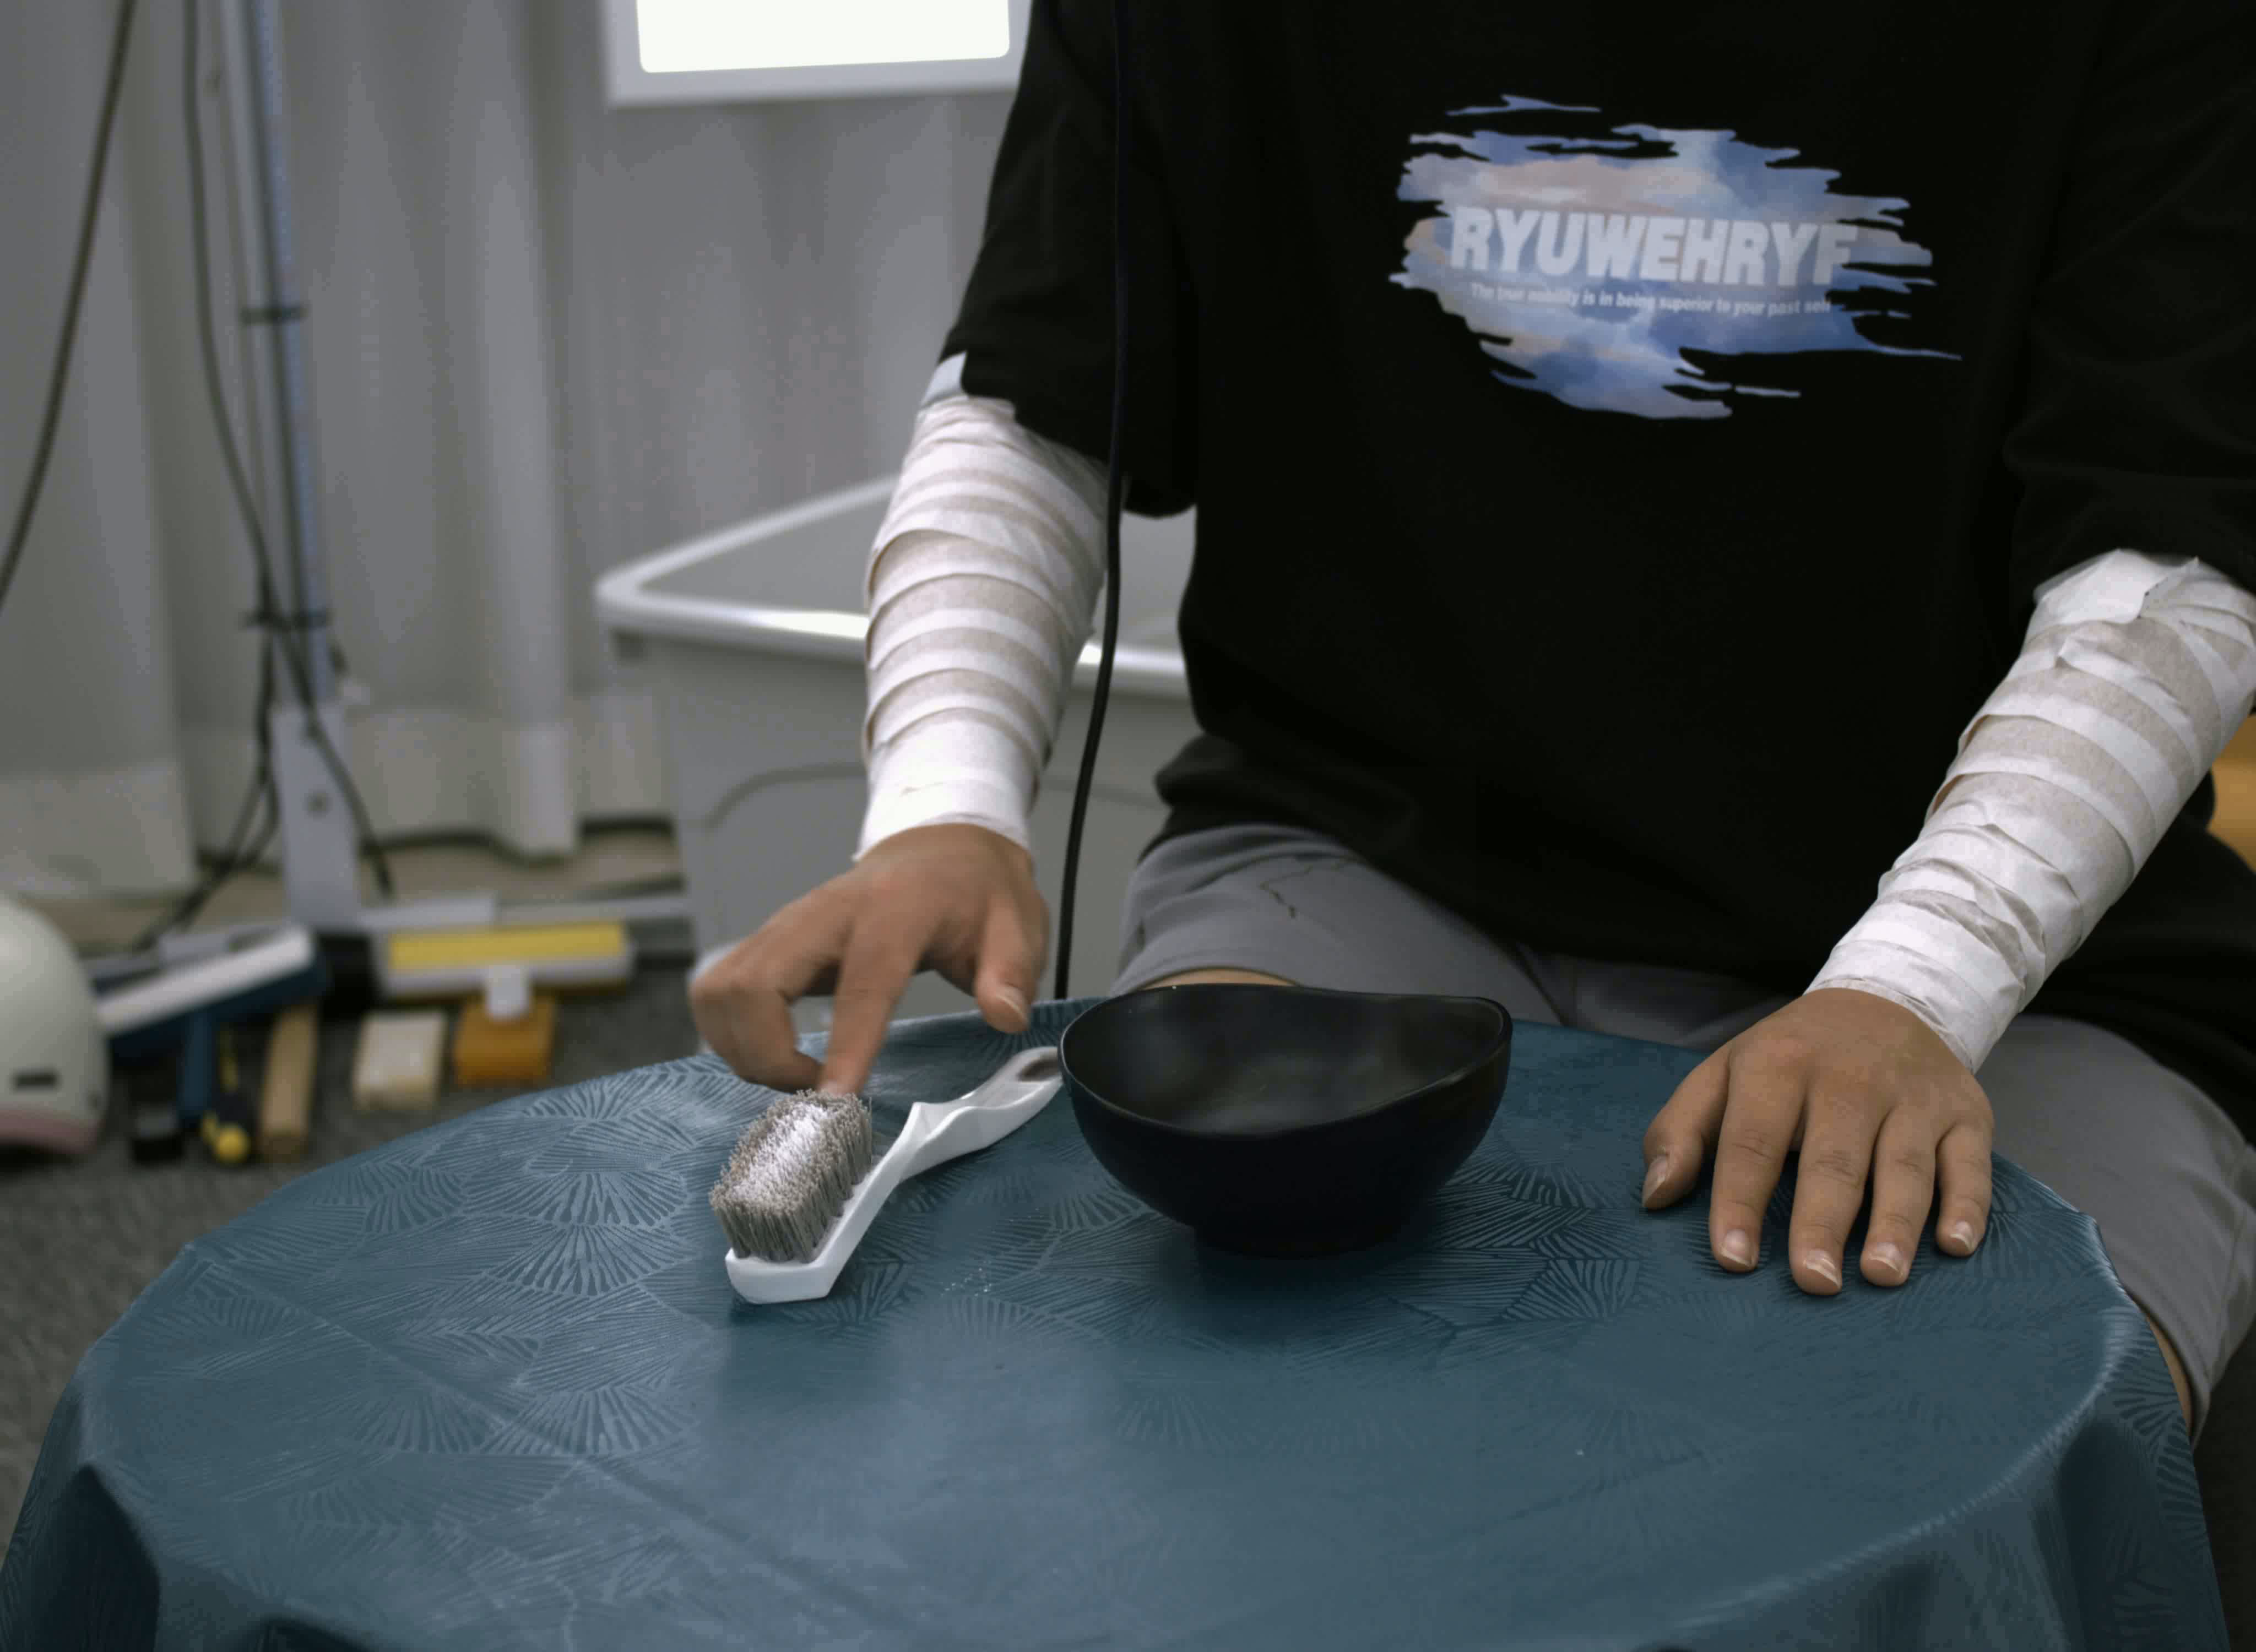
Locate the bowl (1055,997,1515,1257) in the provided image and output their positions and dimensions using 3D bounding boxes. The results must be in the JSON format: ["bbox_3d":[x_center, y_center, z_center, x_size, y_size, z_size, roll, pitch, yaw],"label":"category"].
[{"bbox_3d":[0.050,0.092,1.666,0.137,0.066,0.171,2,13,18],"label":"bowl"}]

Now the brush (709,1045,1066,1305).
[{"bbox_3d":[-0.066,0.090,1.722,0.034,0.050,0.244,4,17,22],"label":"brush"}]
